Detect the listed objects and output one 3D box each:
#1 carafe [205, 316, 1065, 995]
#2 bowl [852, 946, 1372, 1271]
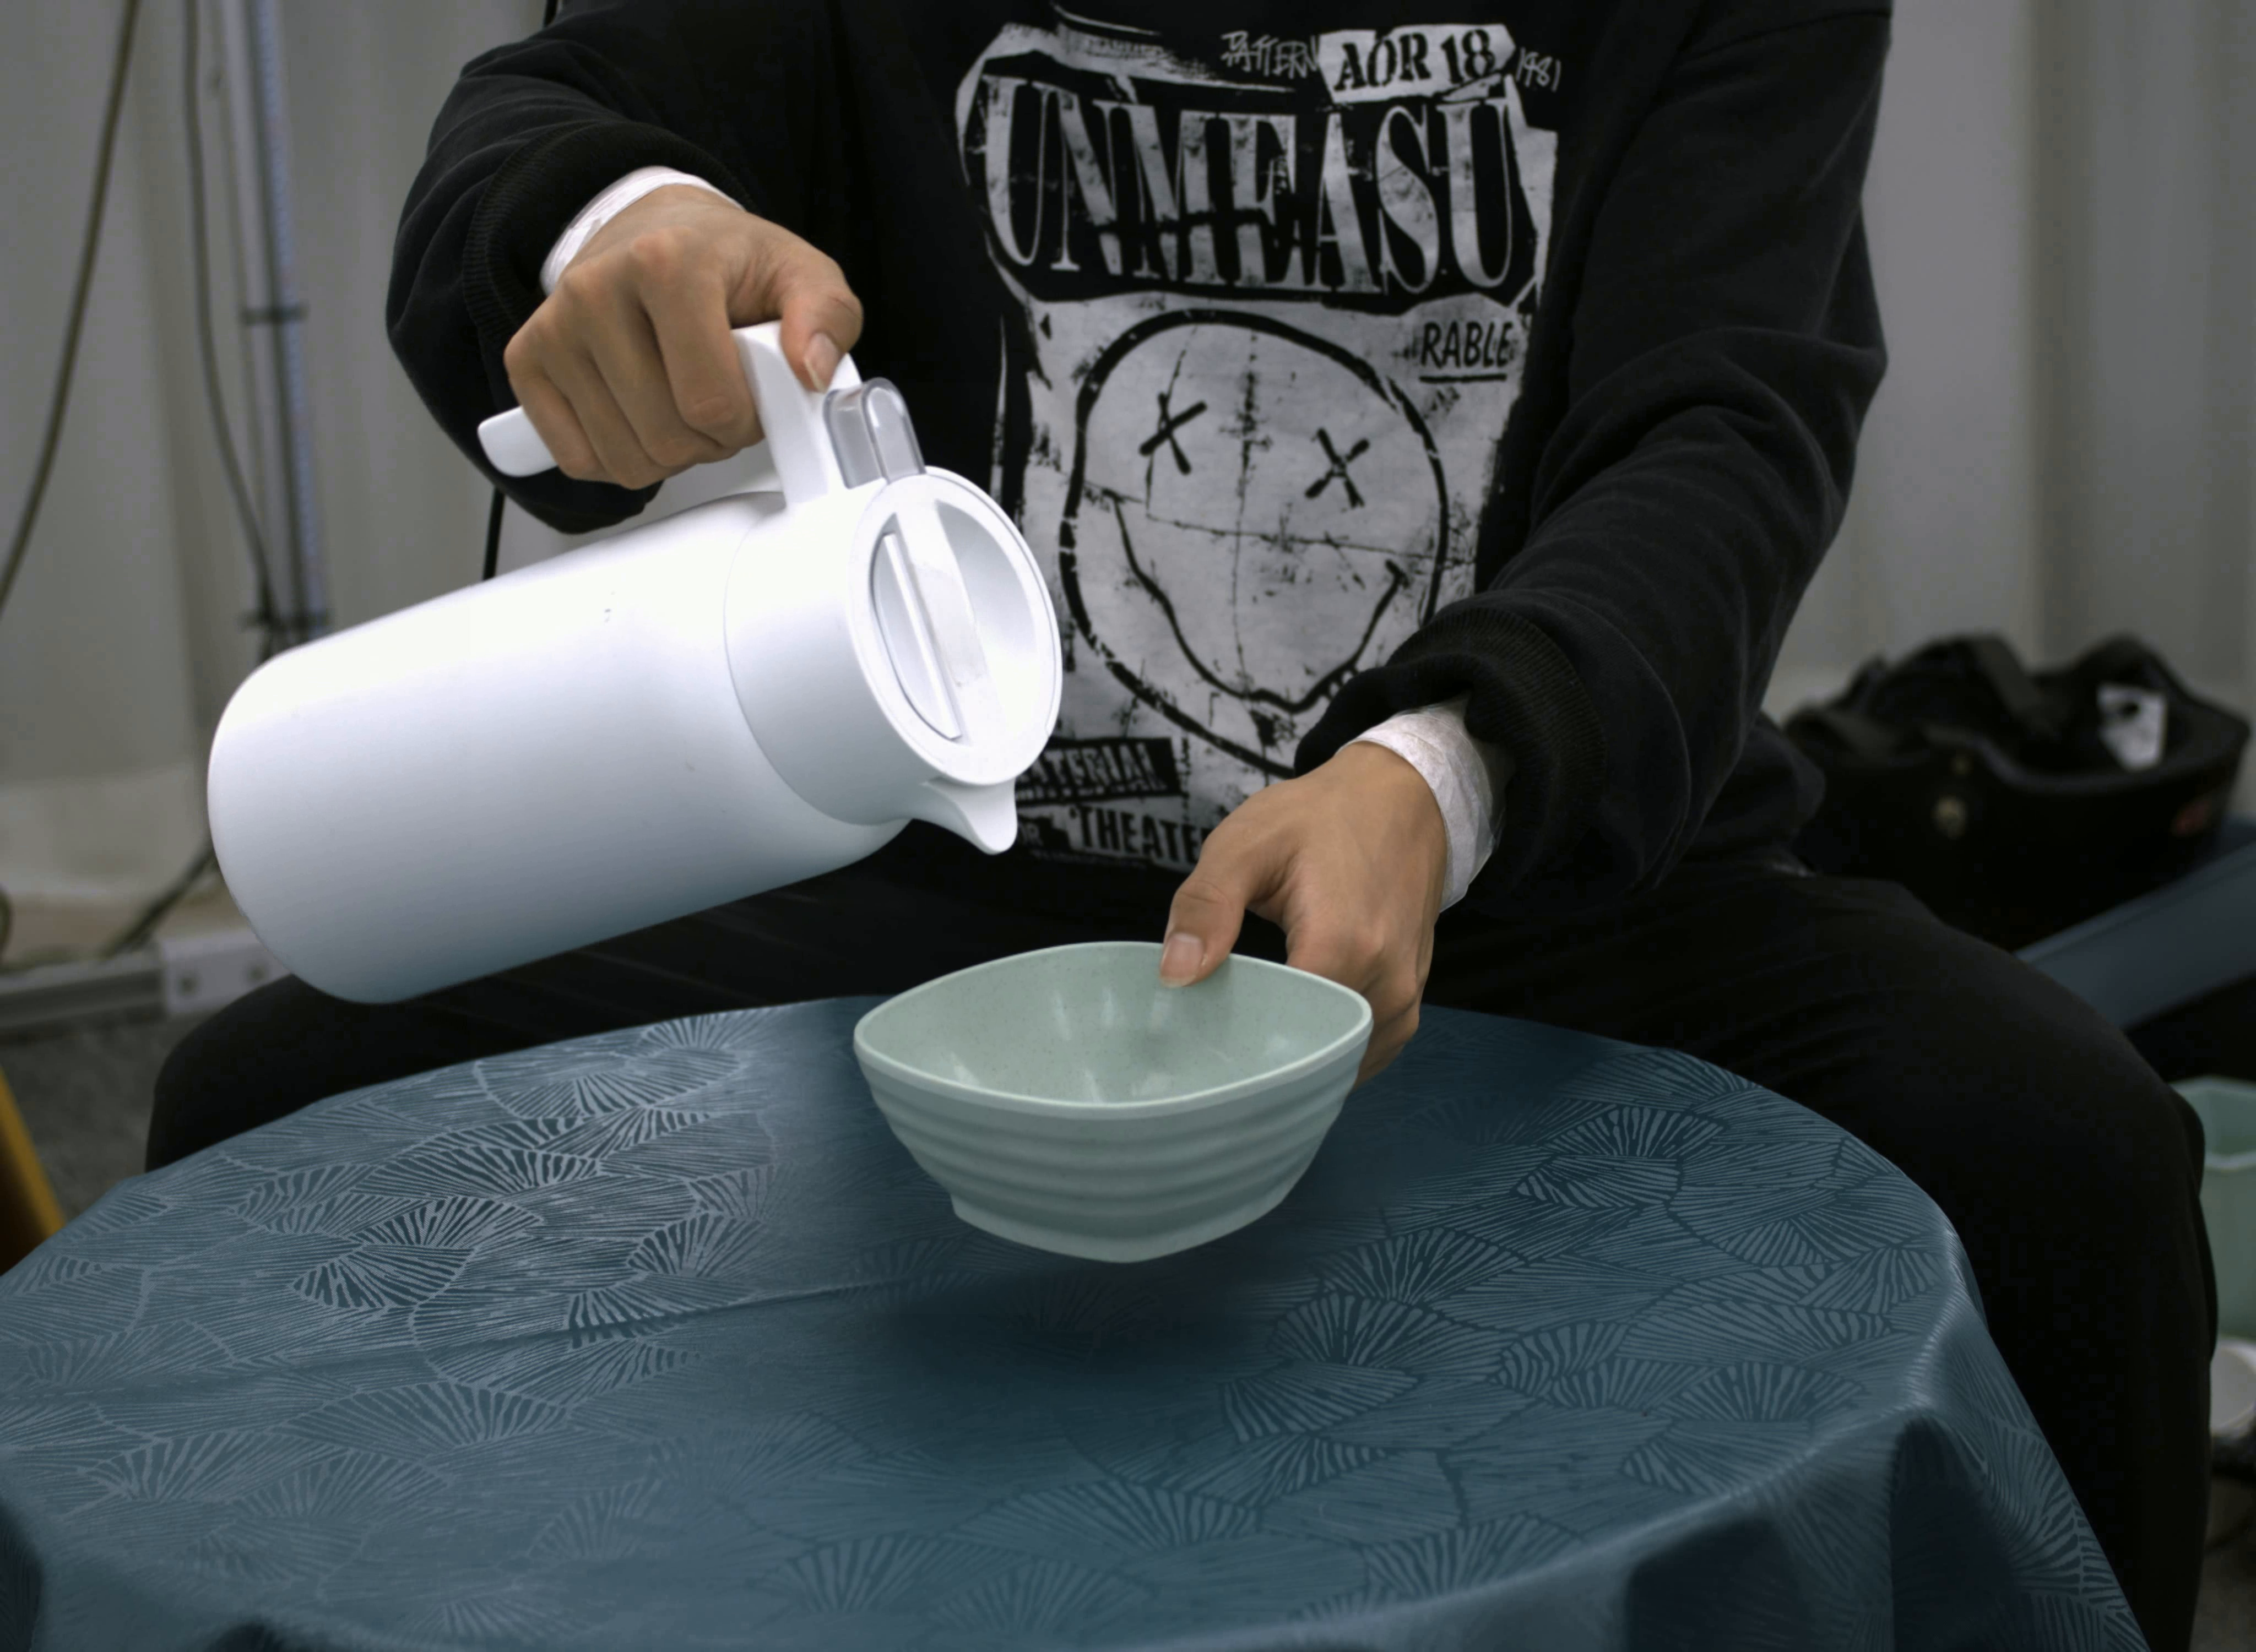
[{"bbox_3d":[-0.158,-0.046,1.670,0.268,0.173,0.124,-16,3,37],"label":"carafe"},{"bbox_3d":[-0.004,0.085,1.591,0.151,0.058,0.152,-1,16,0],"label":"bowl"}]
